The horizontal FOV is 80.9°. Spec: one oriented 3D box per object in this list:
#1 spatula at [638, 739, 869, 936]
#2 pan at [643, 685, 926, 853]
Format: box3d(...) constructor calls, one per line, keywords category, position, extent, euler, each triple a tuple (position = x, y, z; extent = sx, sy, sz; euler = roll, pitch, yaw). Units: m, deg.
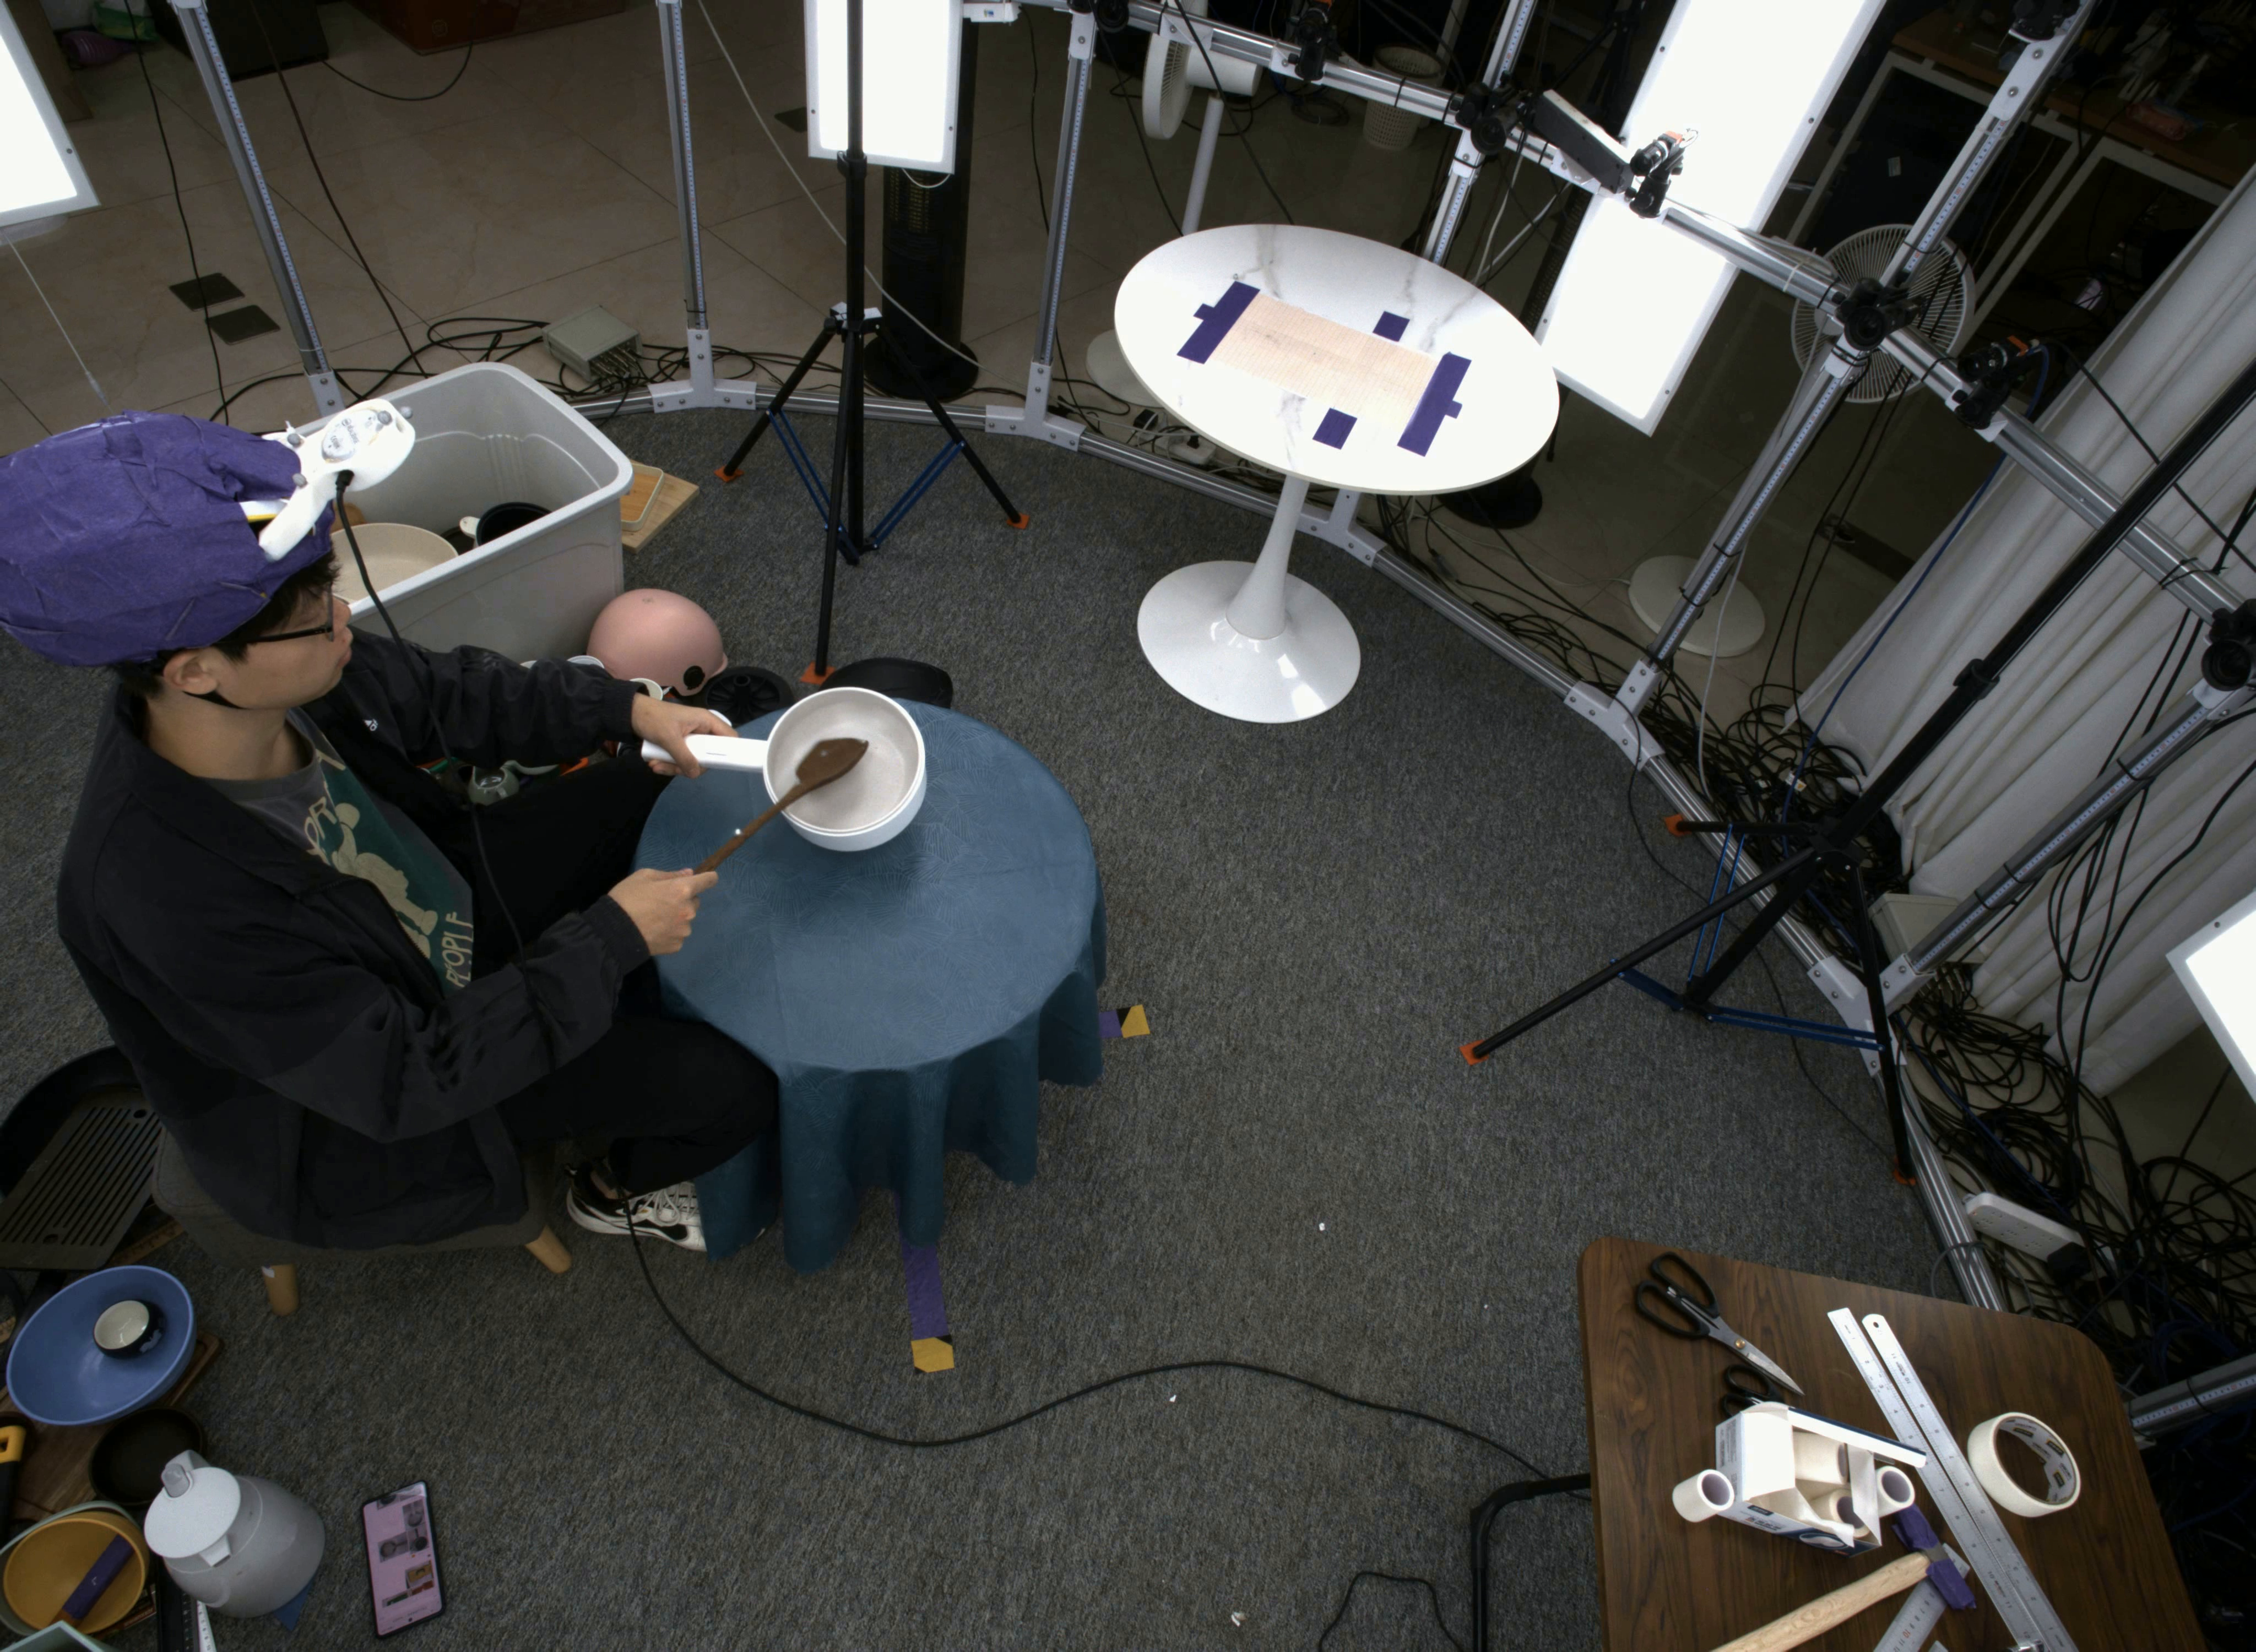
box3d(category="spatula", position=(-0.446, 0.002, 1.540), extent=(0.093, 0.016, 0.385), euler=(2, 36, 36))
box3d(category="pan", position=(-0.434, -0.075, 1.659), extent=(0.351, 0.103, 0.200), euler=(5, 73, -2))
